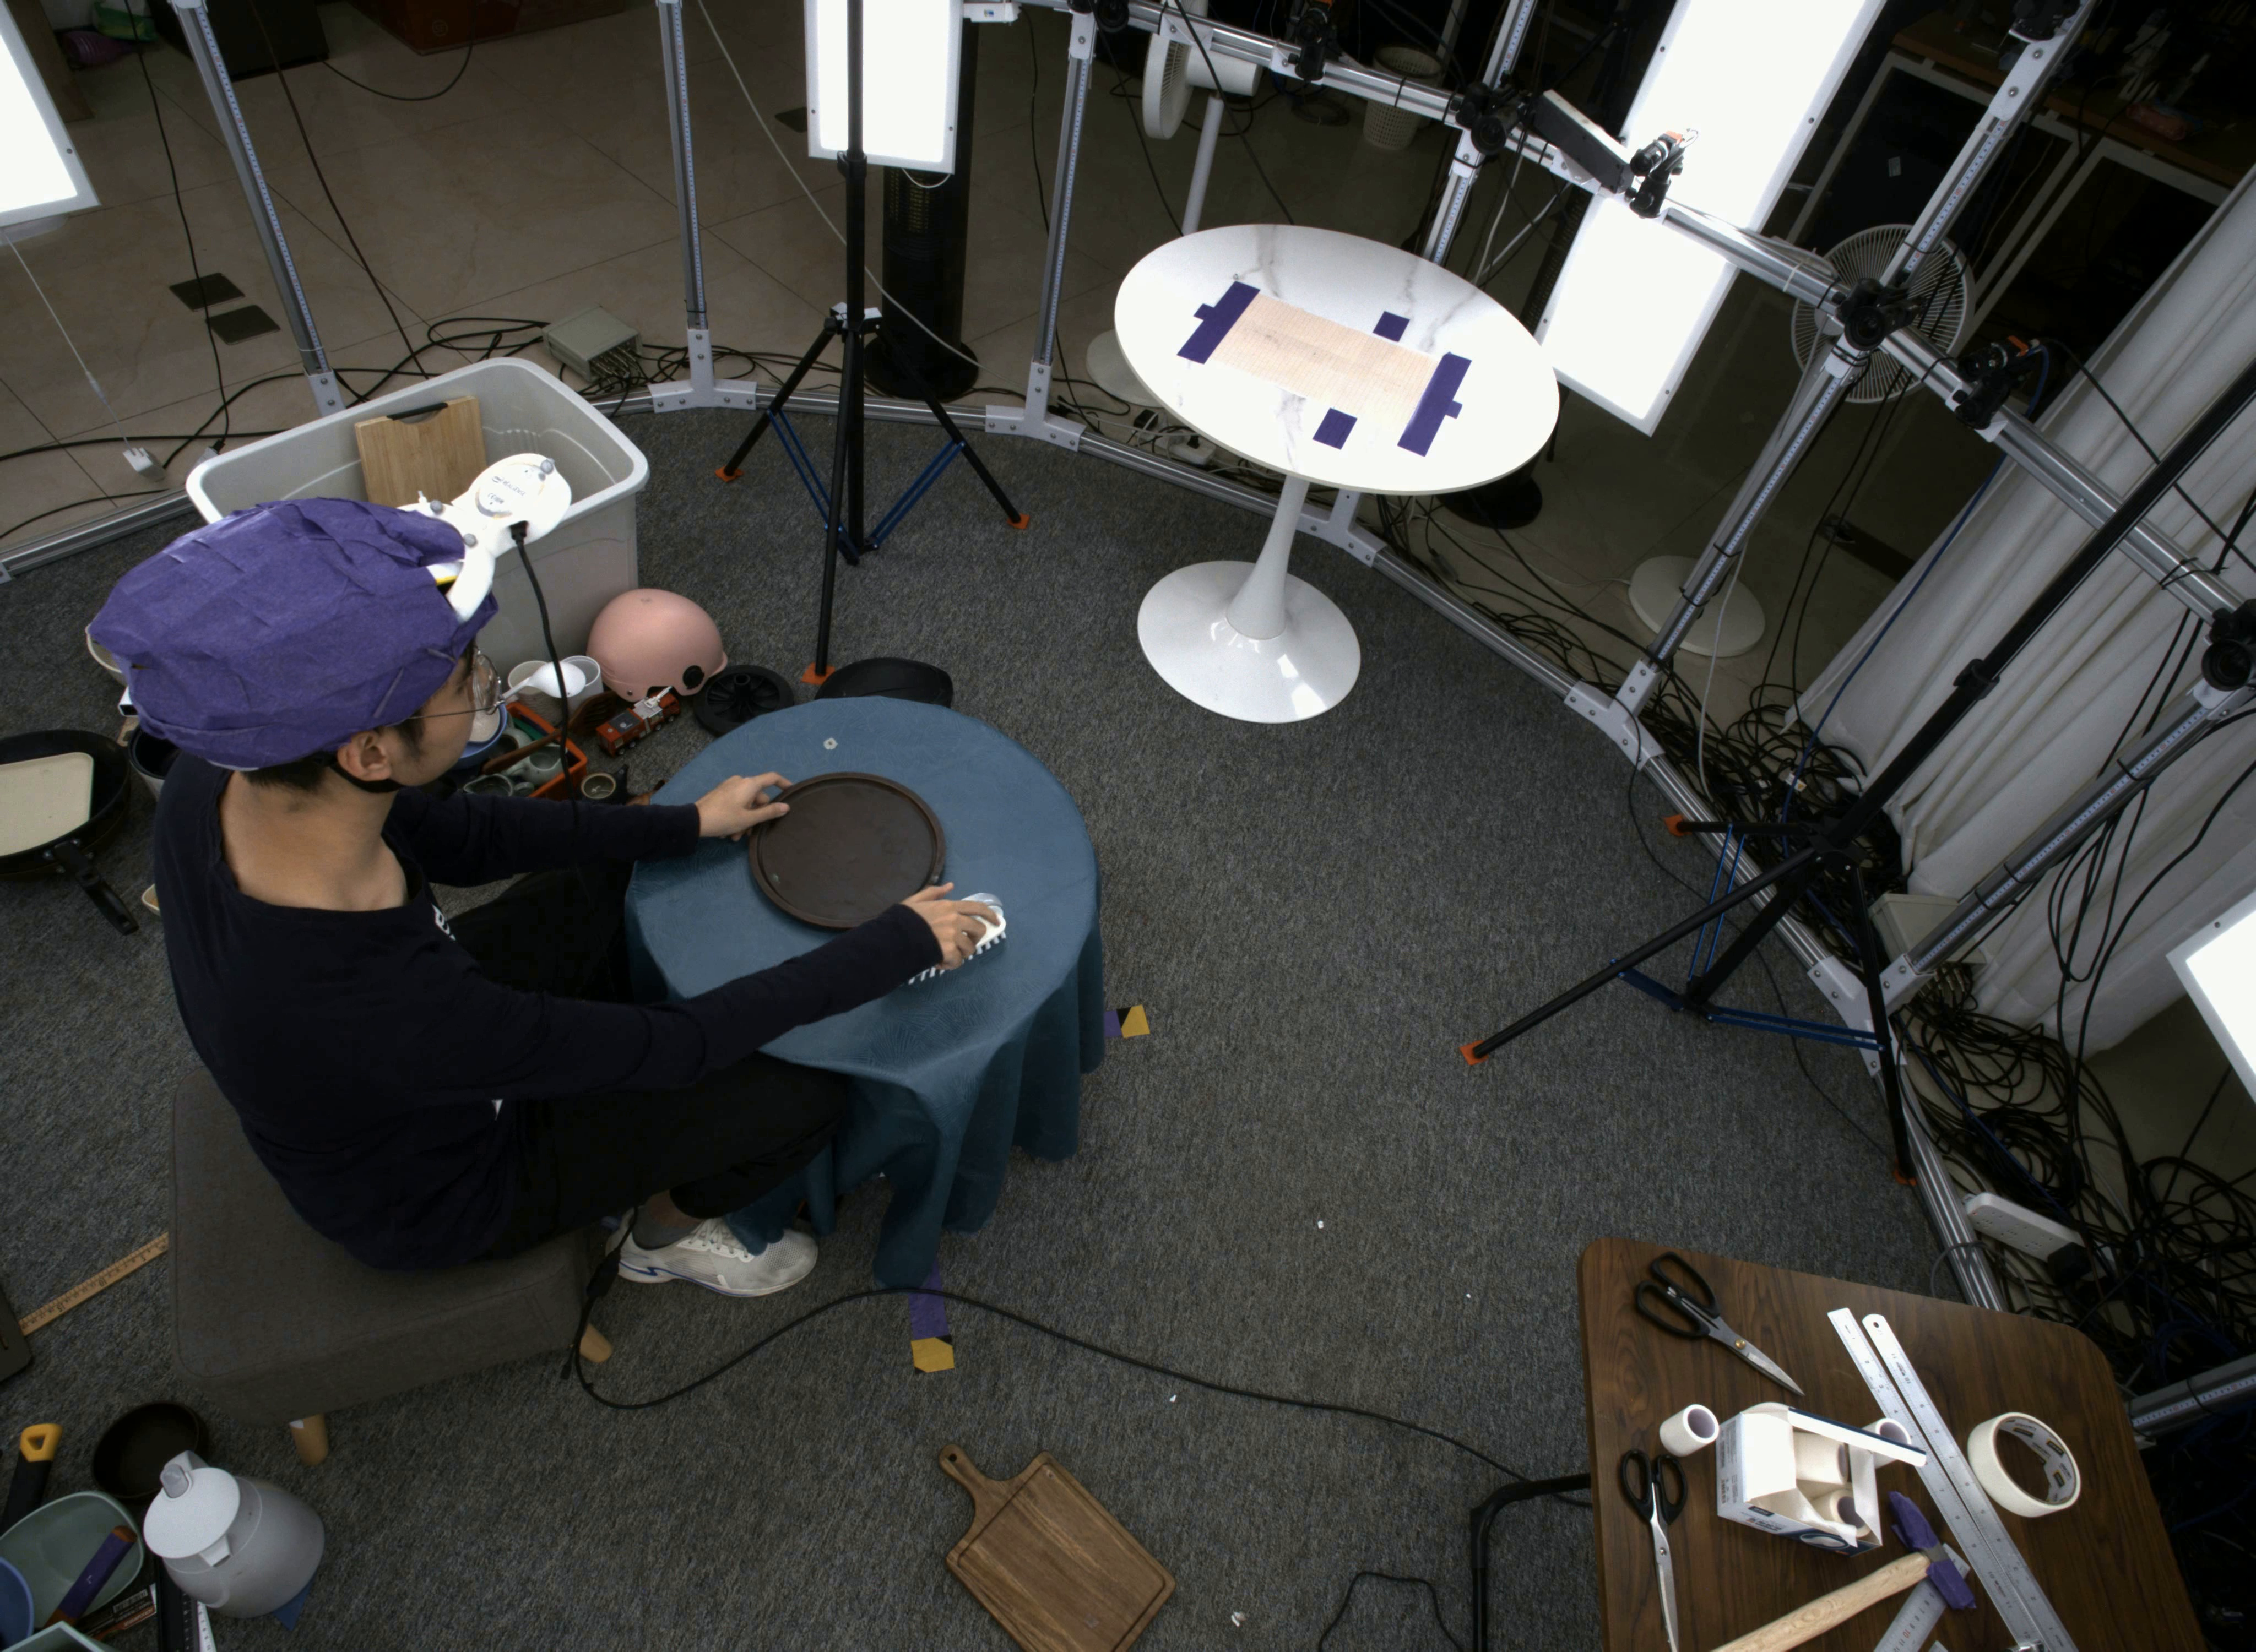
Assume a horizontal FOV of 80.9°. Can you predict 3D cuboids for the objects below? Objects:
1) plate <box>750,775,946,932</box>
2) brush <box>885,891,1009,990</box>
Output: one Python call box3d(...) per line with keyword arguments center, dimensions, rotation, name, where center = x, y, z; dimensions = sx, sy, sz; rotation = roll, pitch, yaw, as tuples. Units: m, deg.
box3d(center=(-0.365, 0.033, 1.701), dimensions=(0.254, 0.029, 0.250), rotation=(8, 52, -9), name="plate")
box3d(center=(-0.228, 0.136, 1.615), dimensions=(0.176, 0.096, 0.060), rotation=(-30, 63, -28), name="brush")
